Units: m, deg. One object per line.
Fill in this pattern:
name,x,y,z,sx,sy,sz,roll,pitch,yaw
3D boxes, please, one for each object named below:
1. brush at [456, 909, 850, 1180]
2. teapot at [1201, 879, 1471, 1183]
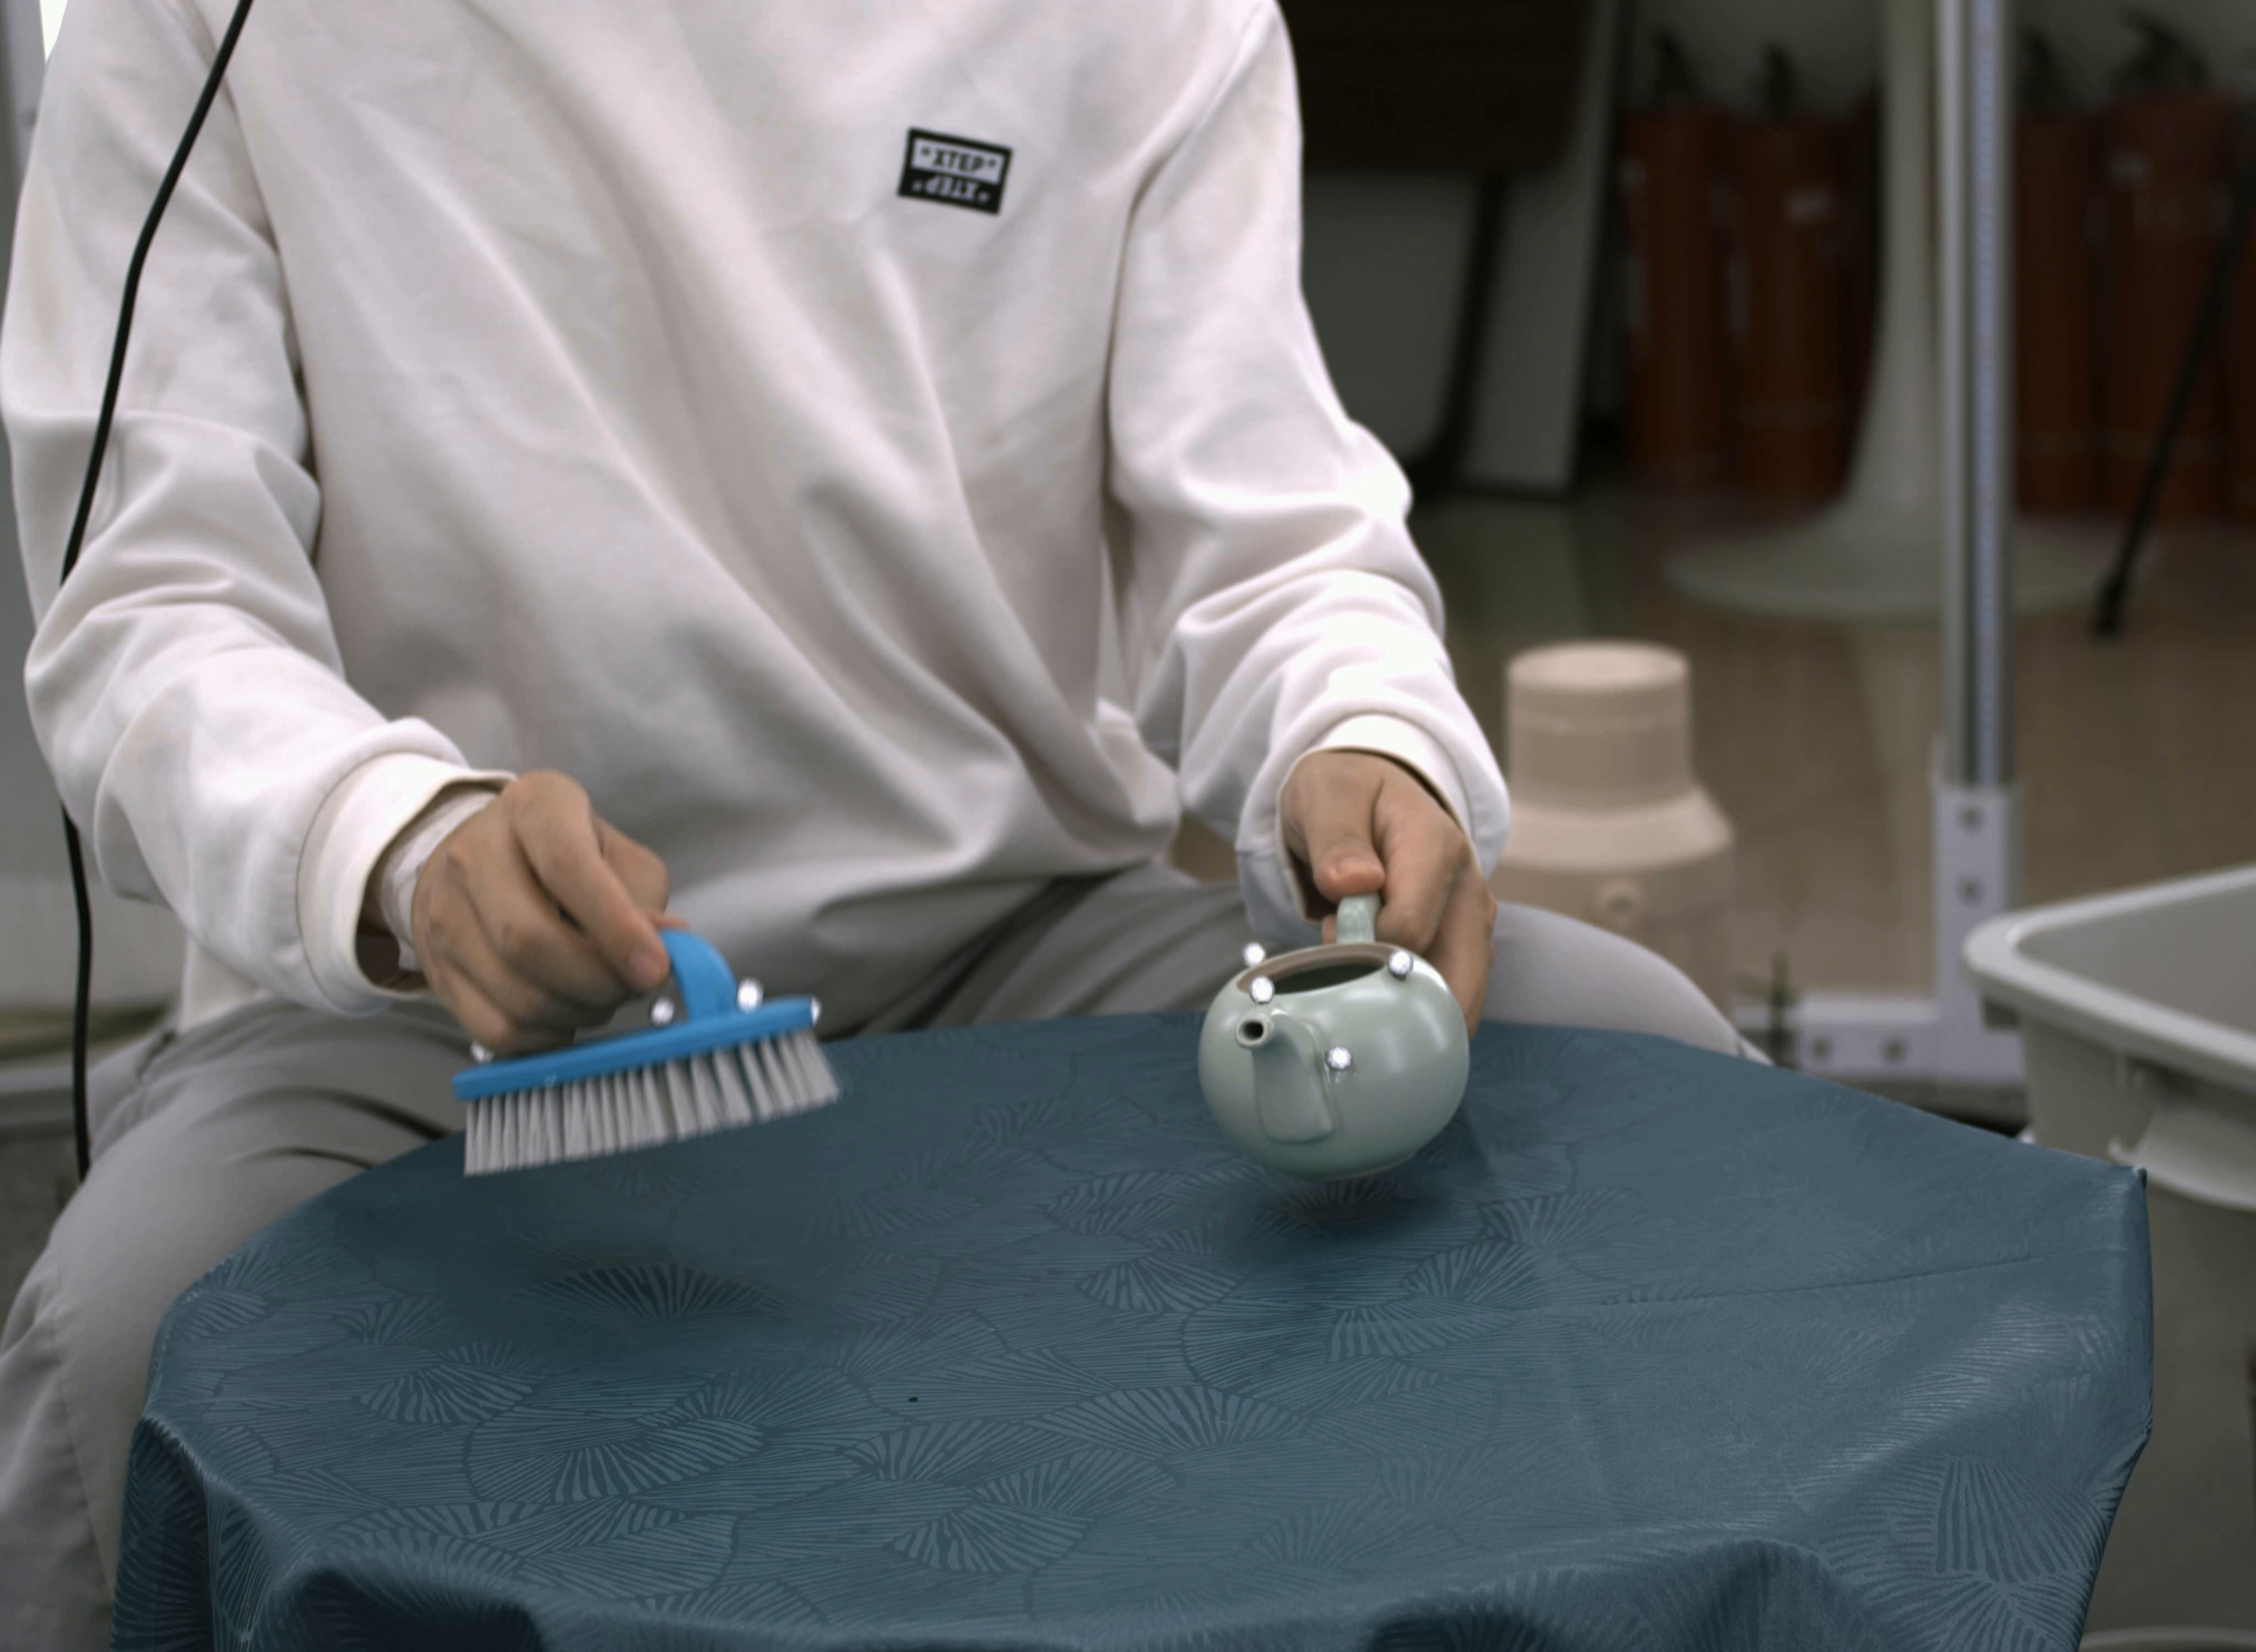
brush,-0.155,0.063,1.692,0.143,0.064,0.083,-18,2,42
teapot,0.067,0.073,1.731,0.088,0.075,0.142,-9,16,24
